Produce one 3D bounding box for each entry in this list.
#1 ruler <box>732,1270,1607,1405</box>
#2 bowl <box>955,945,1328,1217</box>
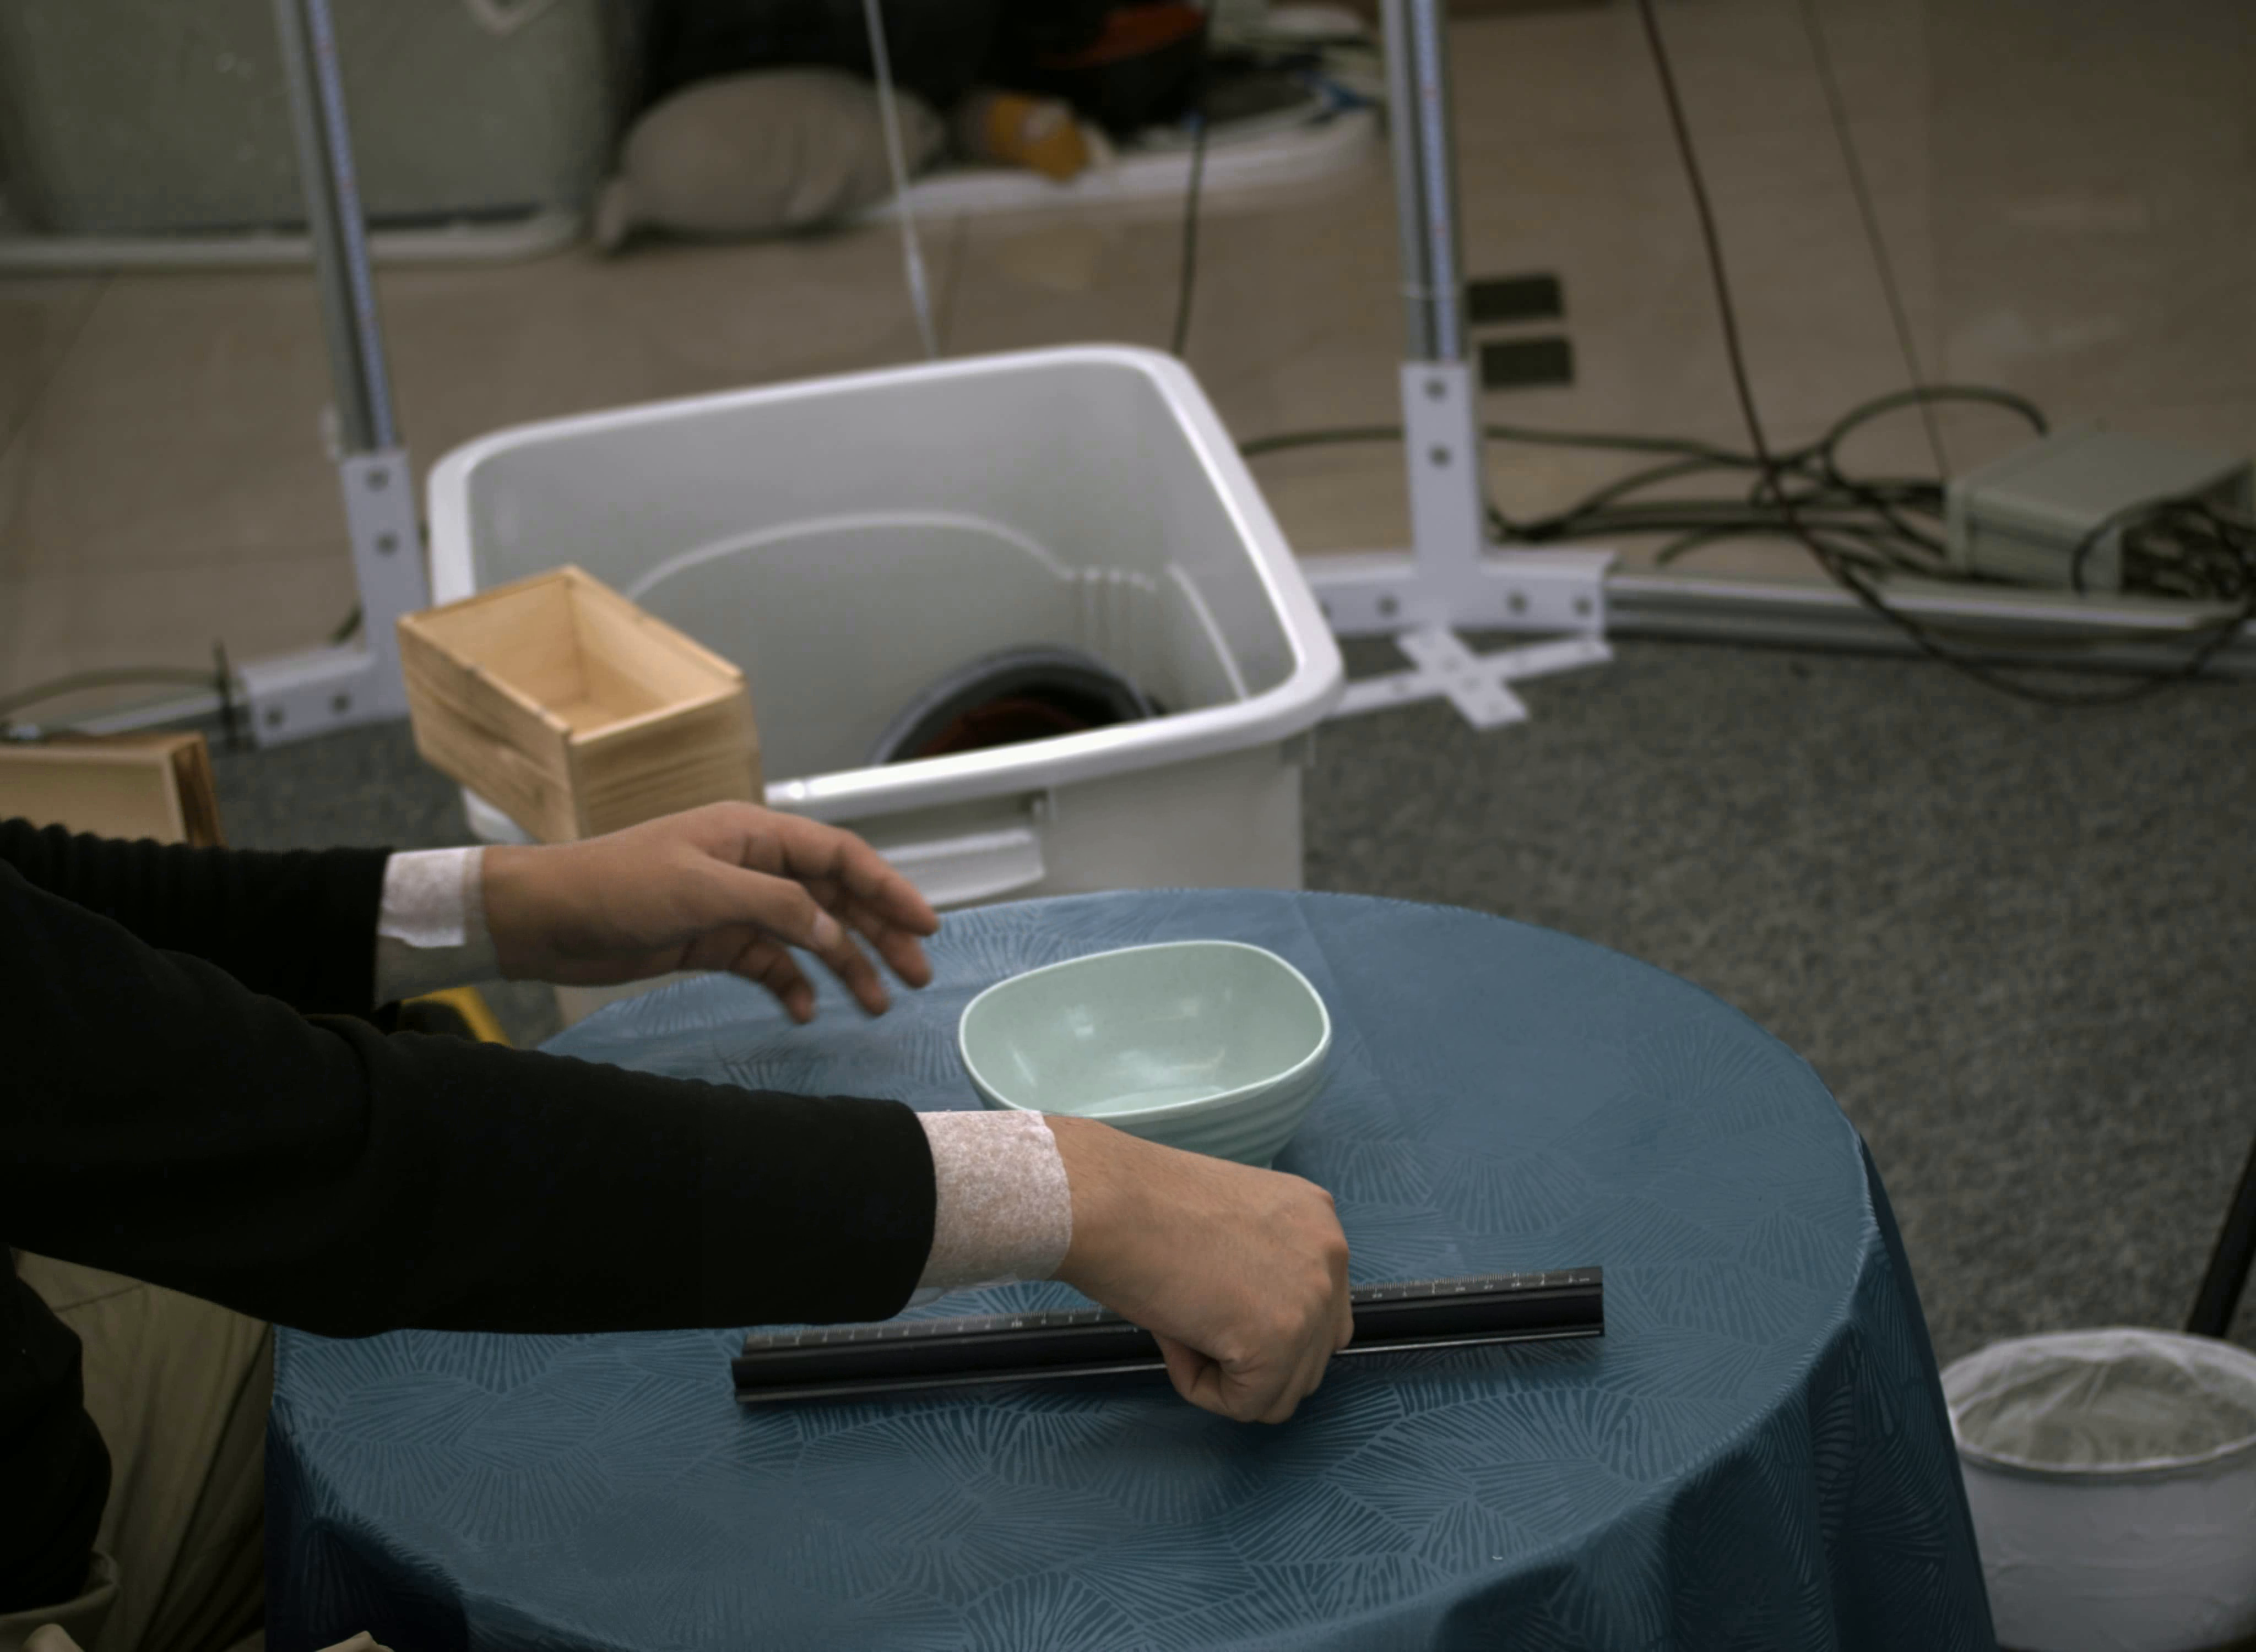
[{"bbox_3d":[0.014,0.177,2.021,0.312,0.017,0.038,-5,32,6],"label":"ruler"},{"bbox_3d":[0.006,0.102,2.158,0.151,0.059,0.149,-3,26,2],"label":"bowl"}]
